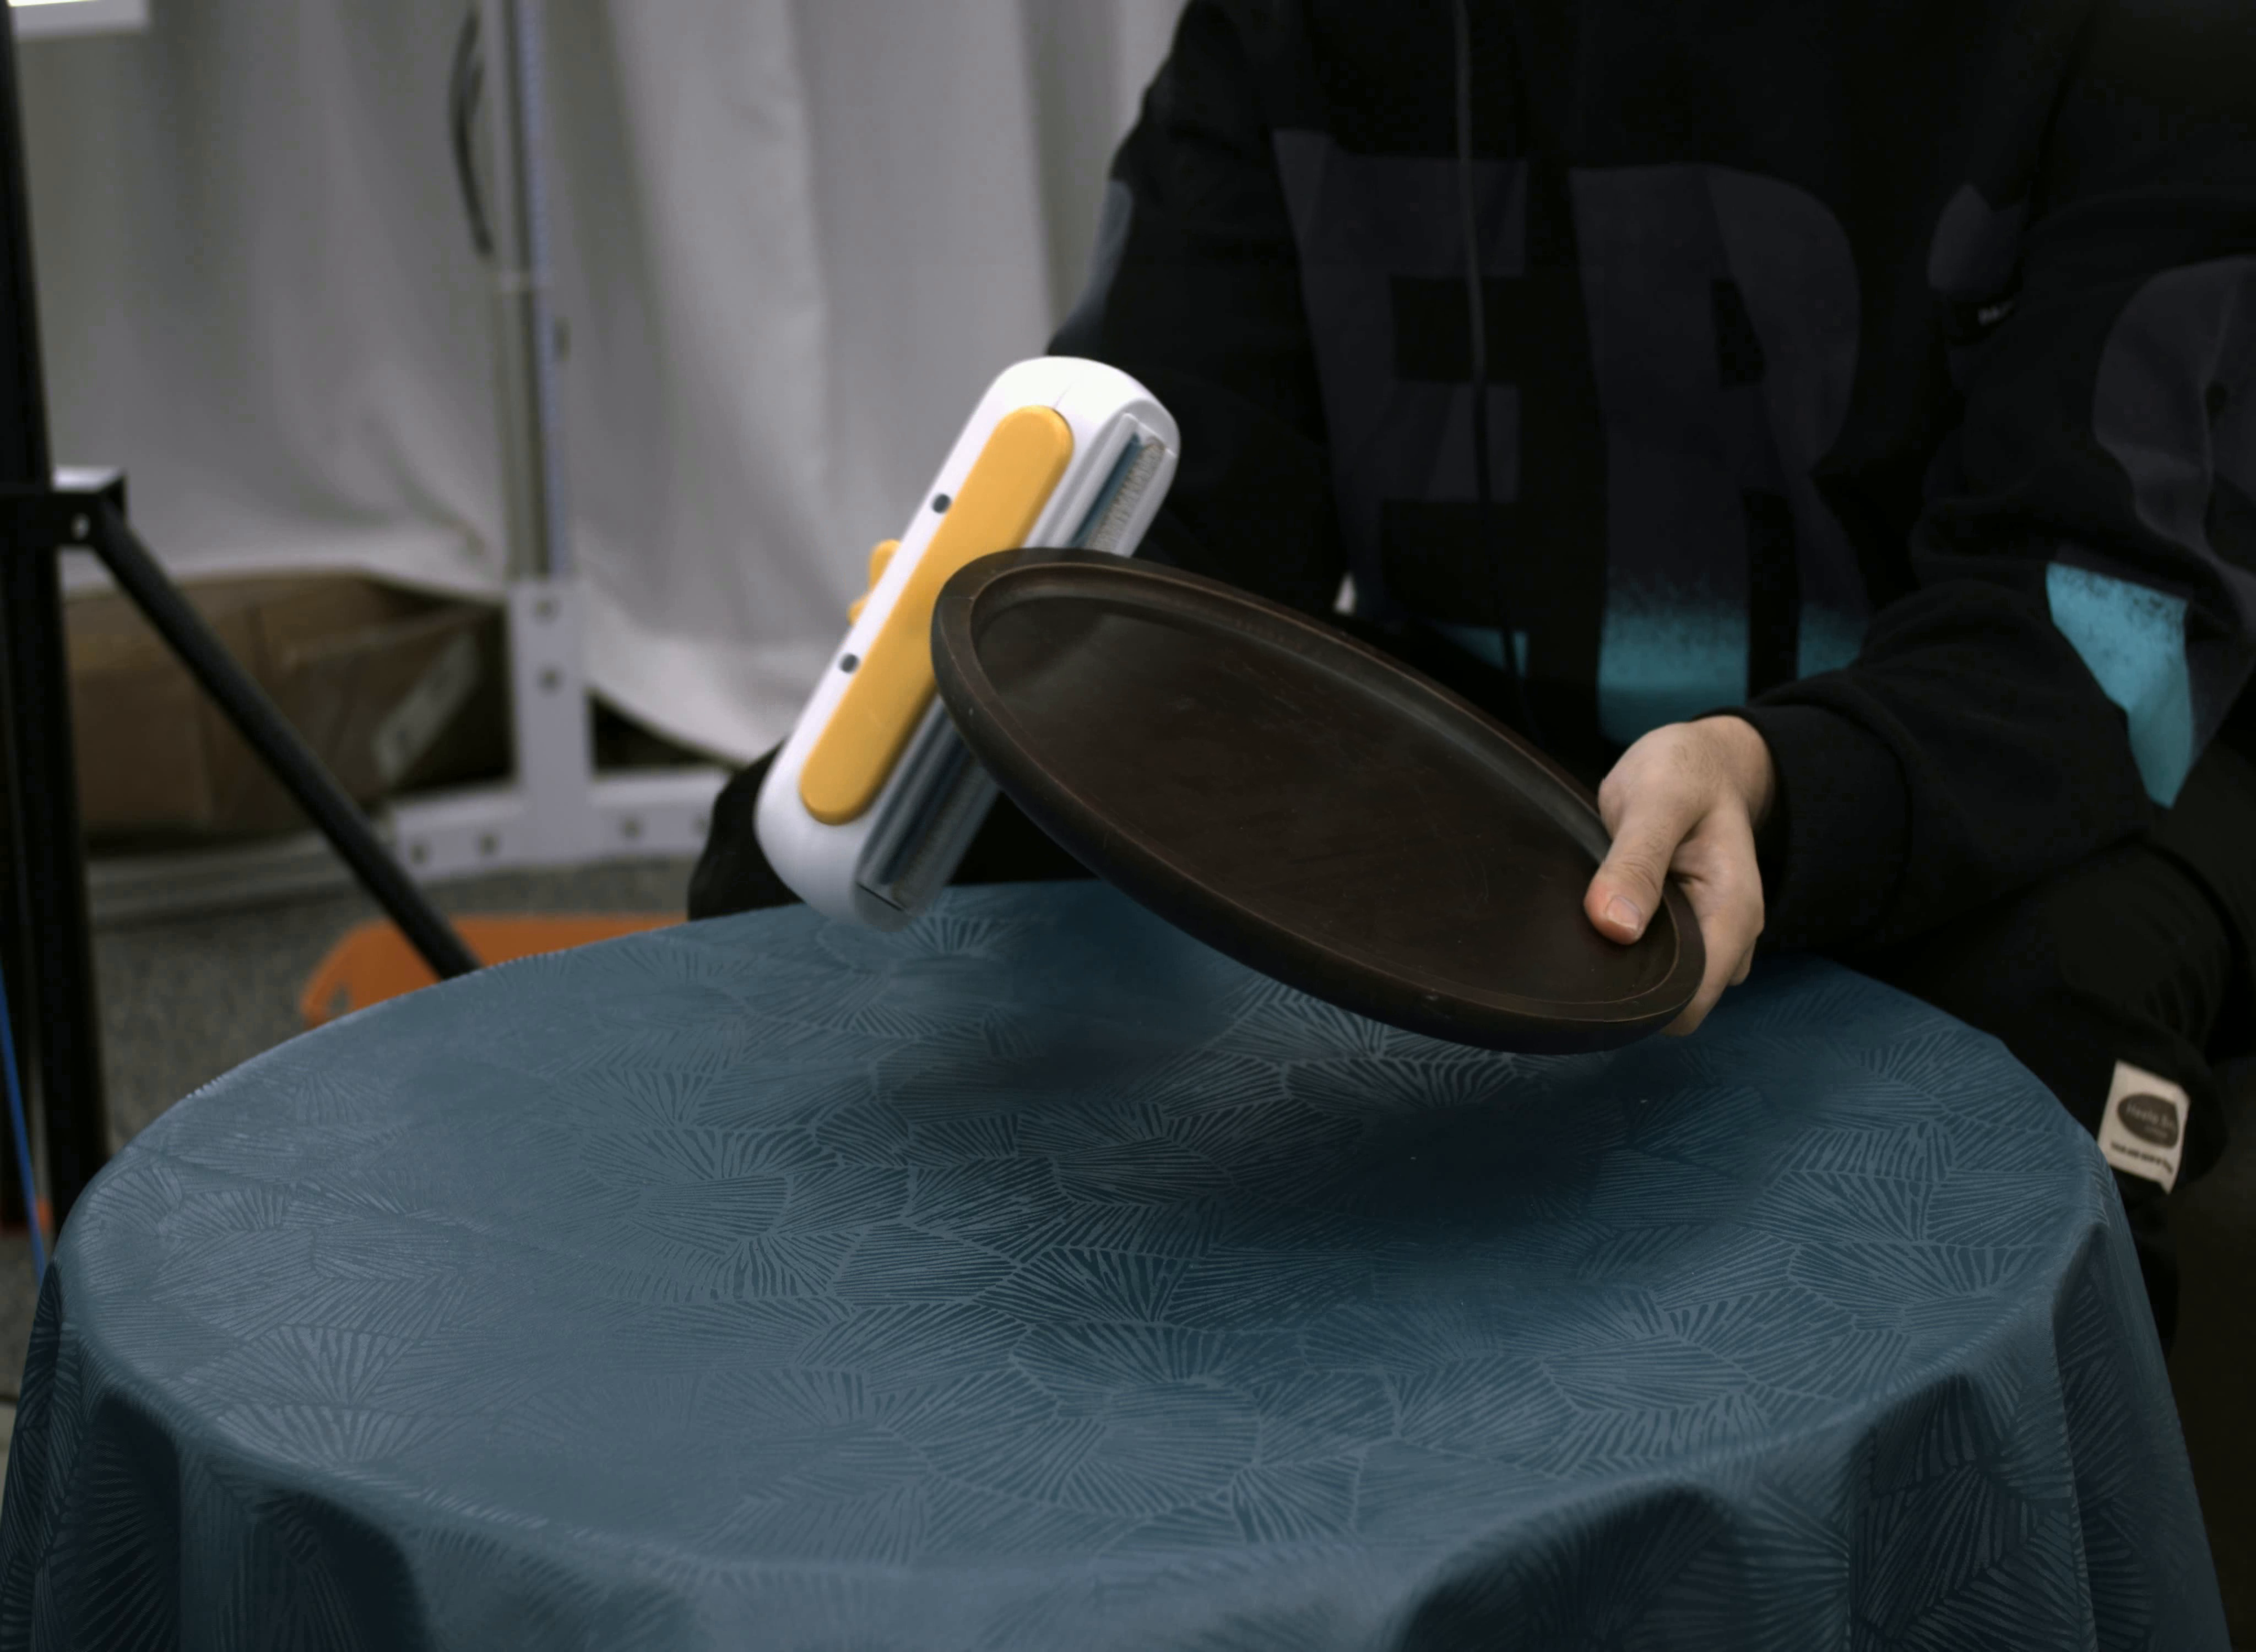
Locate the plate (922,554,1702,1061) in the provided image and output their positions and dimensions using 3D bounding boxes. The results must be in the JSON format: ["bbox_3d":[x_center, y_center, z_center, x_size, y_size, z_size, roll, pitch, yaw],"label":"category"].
[{"bbox_3d":[0.053,-0.006,1.571,0.252,0.029,0.256,22,21,-10],"label":"plate"}]

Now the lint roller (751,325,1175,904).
[{"bbox_3d":[-0.045,-0.053,1.720,0.075,0.193,0.189,23,-9,19],"label":"lint roller"}]
